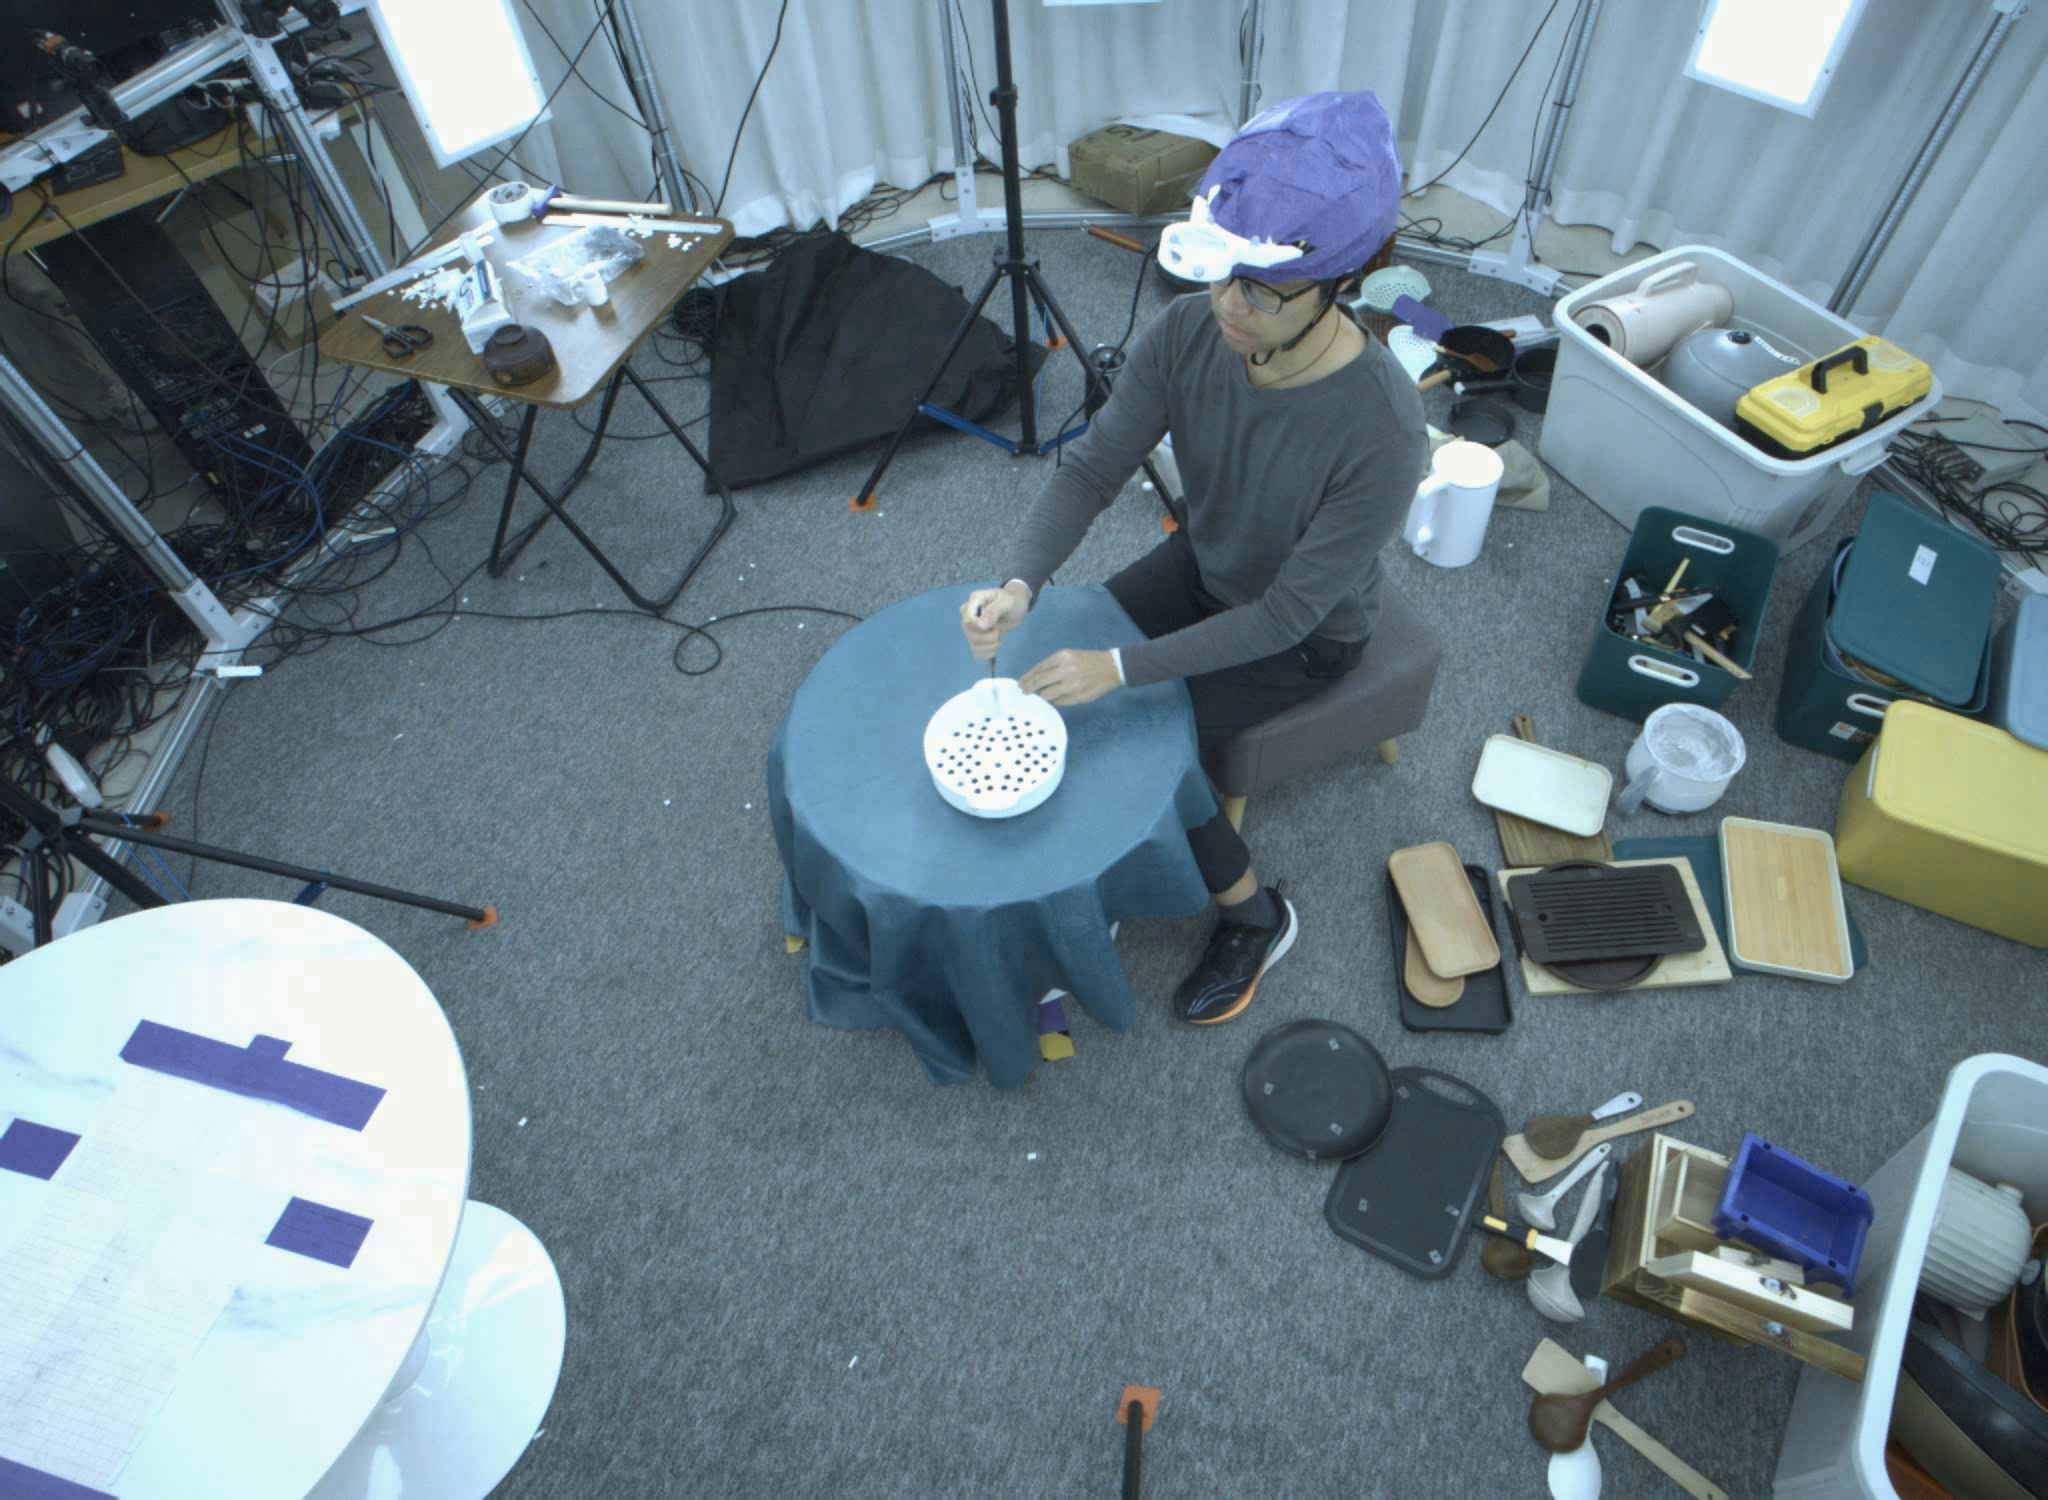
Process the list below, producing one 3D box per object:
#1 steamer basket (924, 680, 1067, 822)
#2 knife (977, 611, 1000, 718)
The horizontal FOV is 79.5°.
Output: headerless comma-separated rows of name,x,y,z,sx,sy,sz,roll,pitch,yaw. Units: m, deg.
steamer basket,-0.039,0.007,1.749,0.202,0.070,0.228,0,54,1
knife,-0.046,-0.115,1.697,0.016,0.241,0.024,4,57,8
